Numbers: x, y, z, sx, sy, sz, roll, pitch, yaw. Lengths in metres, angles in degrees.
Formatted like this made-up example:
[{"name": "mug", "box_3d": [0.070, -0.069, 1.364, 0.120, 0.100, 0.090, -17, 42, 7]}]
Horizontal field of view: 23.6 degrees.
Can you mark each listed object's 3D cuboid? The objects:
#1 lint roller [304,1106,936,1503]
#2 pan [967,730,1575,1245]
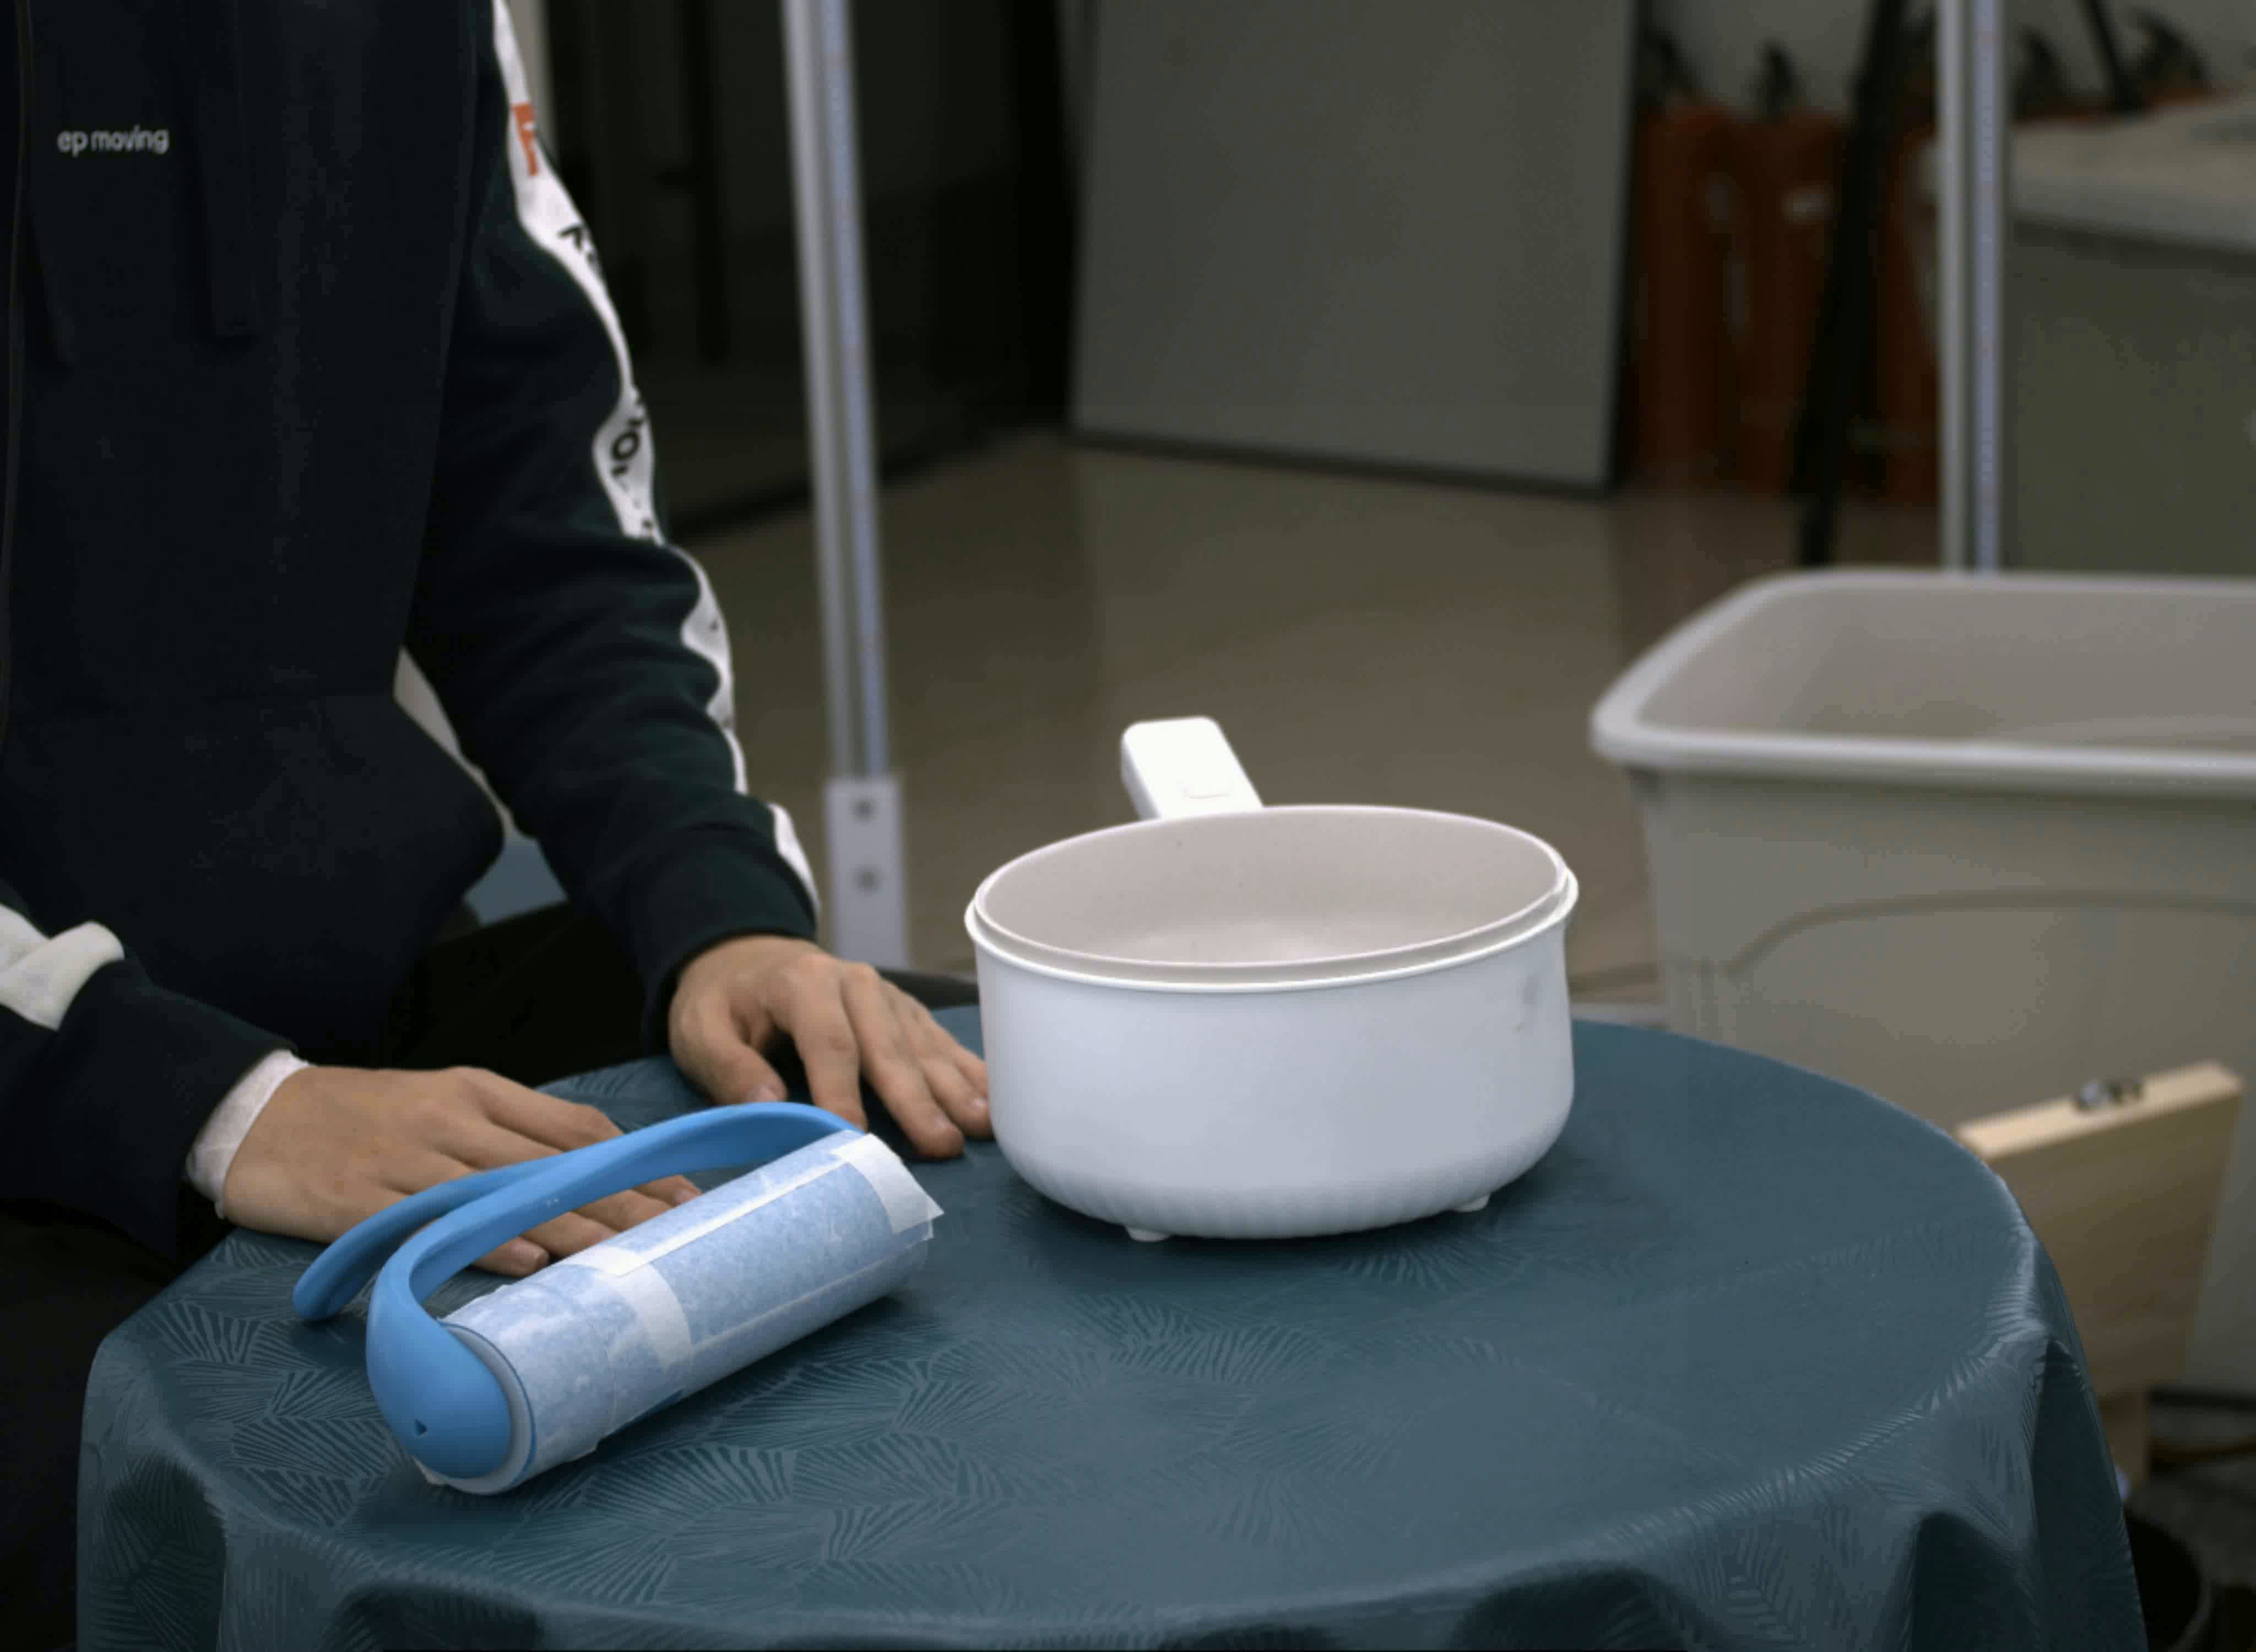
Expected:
[{"name": "lint roller", "box_3d": [-0.183, 0.138, 1.640, 0.181, 0.068, 0.225, 5, 18, 32]}, {"name": "pan", "box_3d": [0.041, 0.050, 1.840, 0.198, 0.103, 0.356, -6, 13, -5]}]
